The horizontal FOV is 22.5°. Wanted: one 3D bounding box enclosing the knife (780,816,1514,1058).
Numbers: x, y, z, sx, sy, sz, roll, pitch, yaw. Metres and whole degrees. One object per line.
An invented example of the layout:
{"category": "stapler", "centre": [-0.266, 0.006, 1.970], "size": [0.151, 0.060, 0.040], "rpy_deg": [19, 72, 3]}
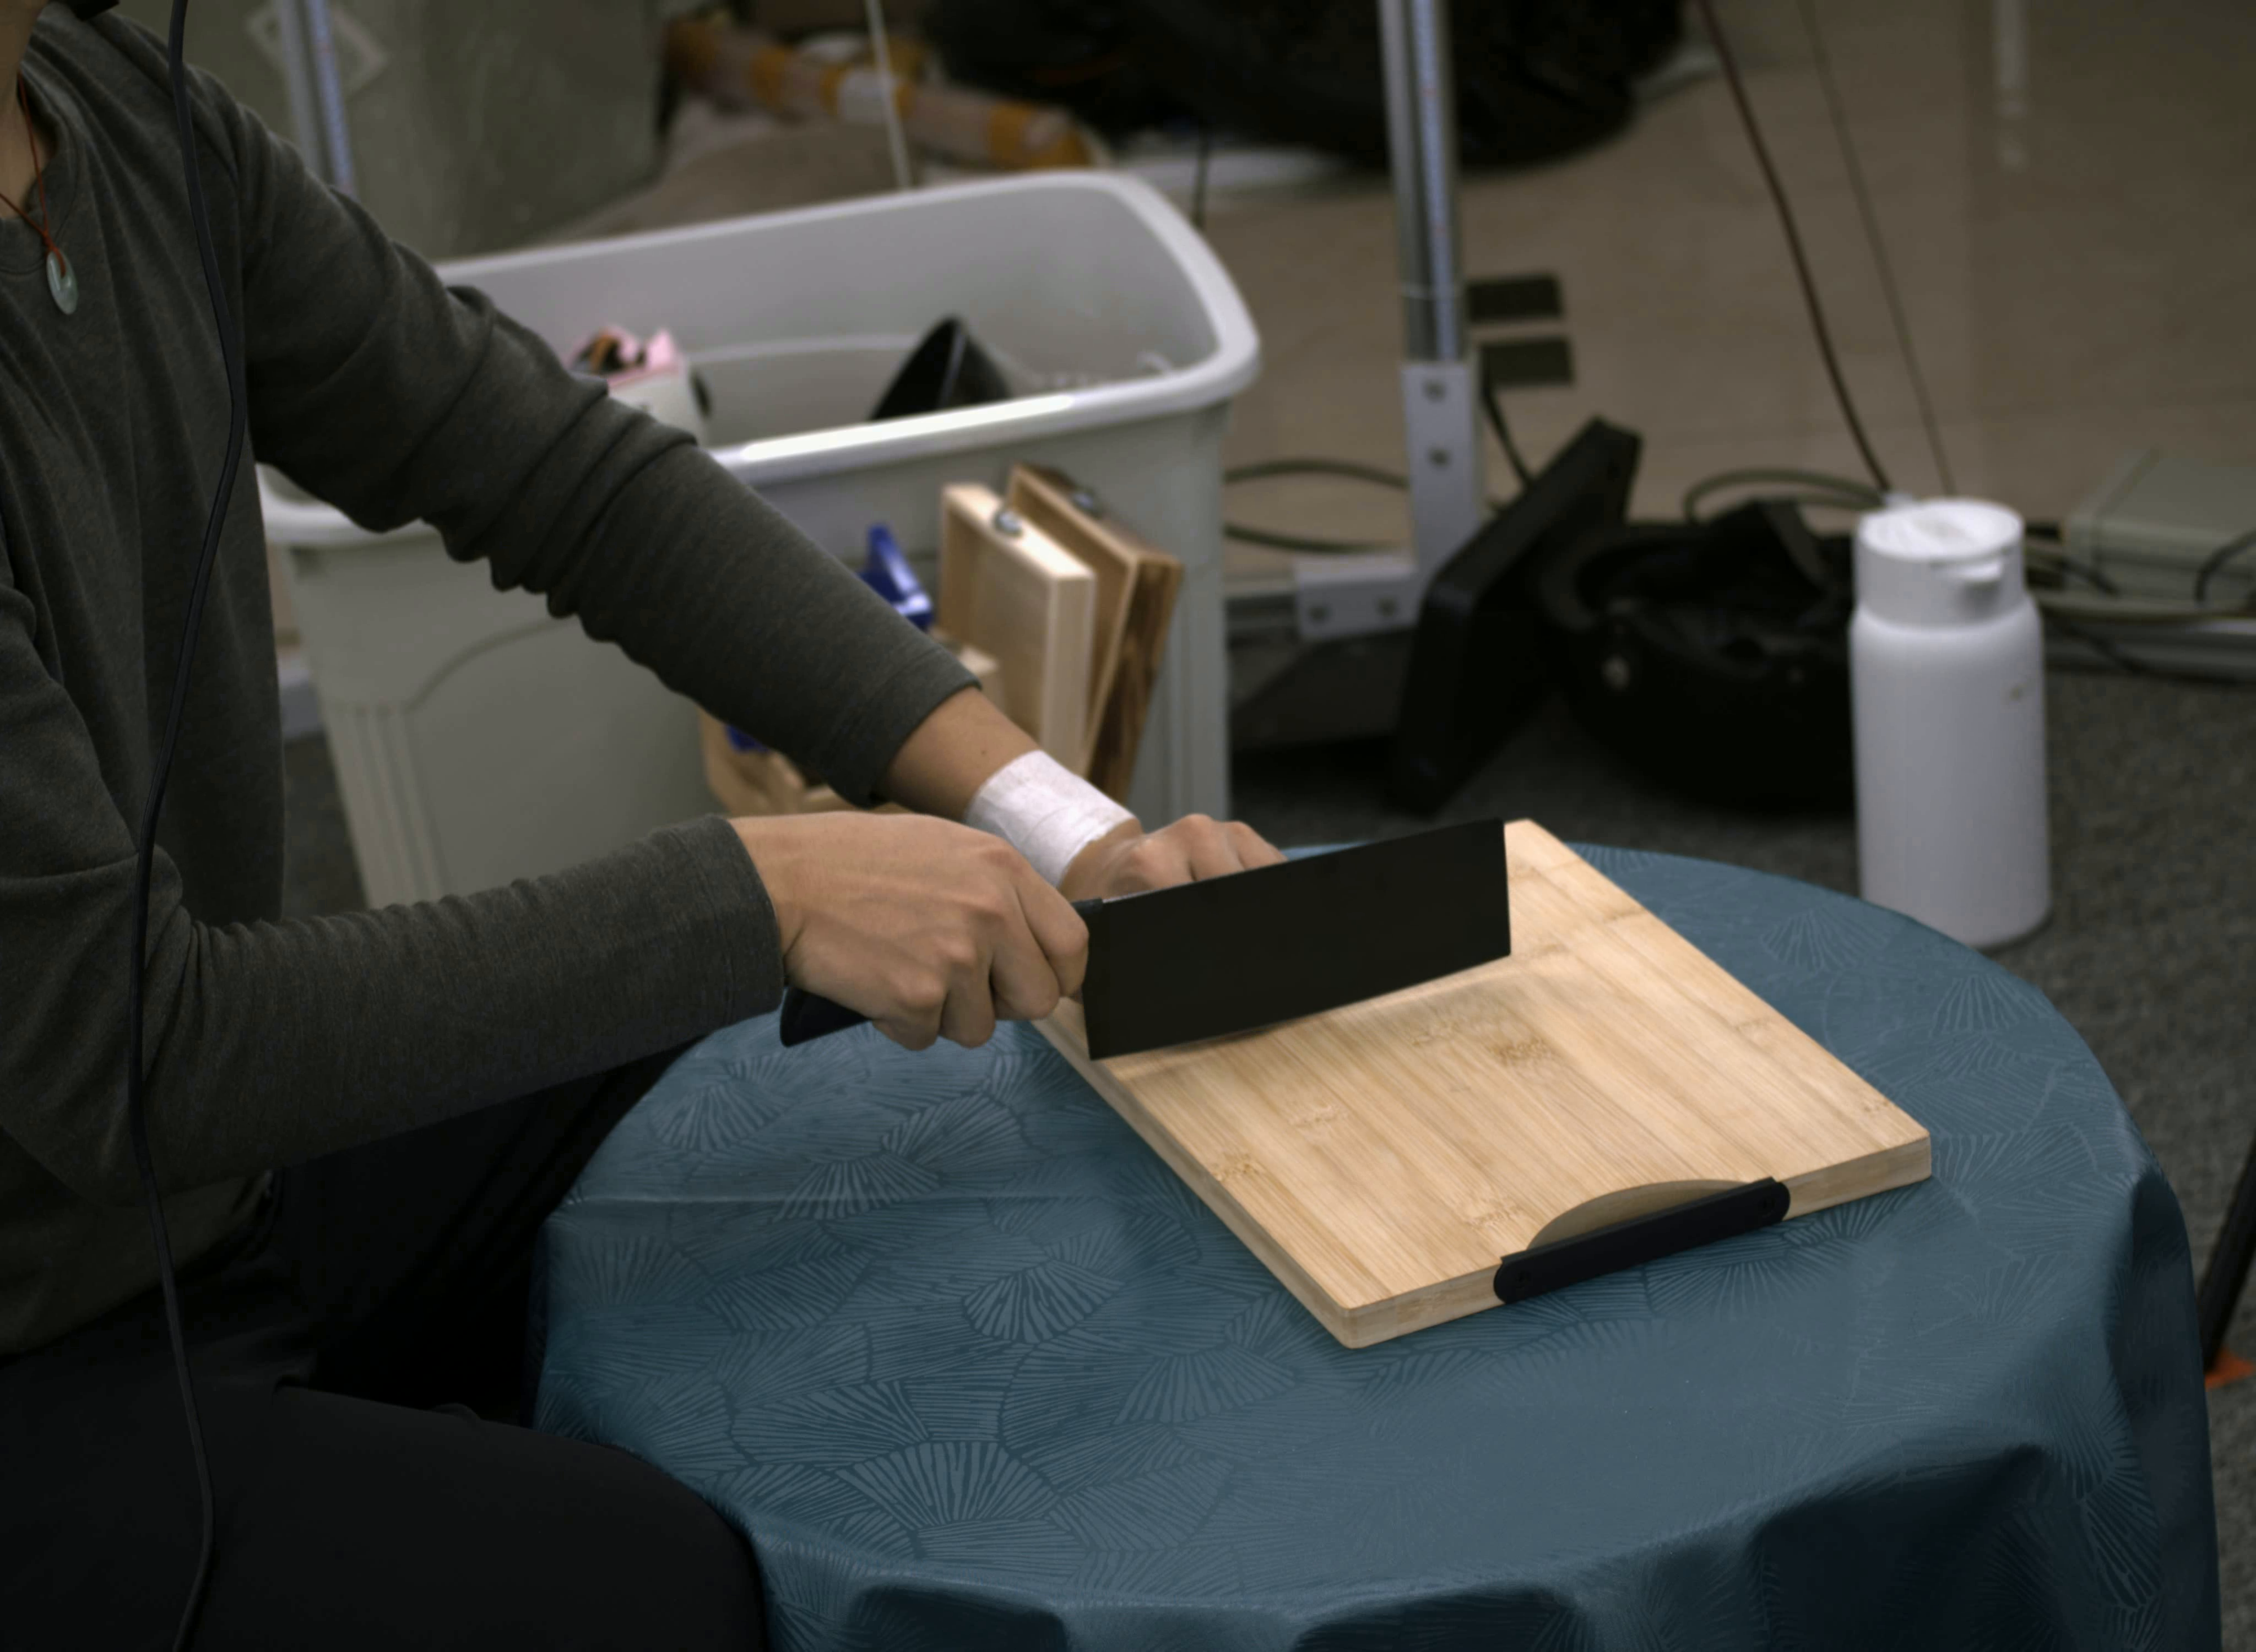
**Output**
{"category": "knife", "centre": [0.011, 0.052, 2.189], "size": [0.301, 0.082, 0.020], "rpy_deg": [-8, 21, -19]}

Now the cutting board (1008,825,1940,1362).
{"category": "cutting board", "centre": [0.125, 0.095, 2.197], "size": [0.250, 0.024, 0.344], "rpy_deg": [-16, 26, -18]}
